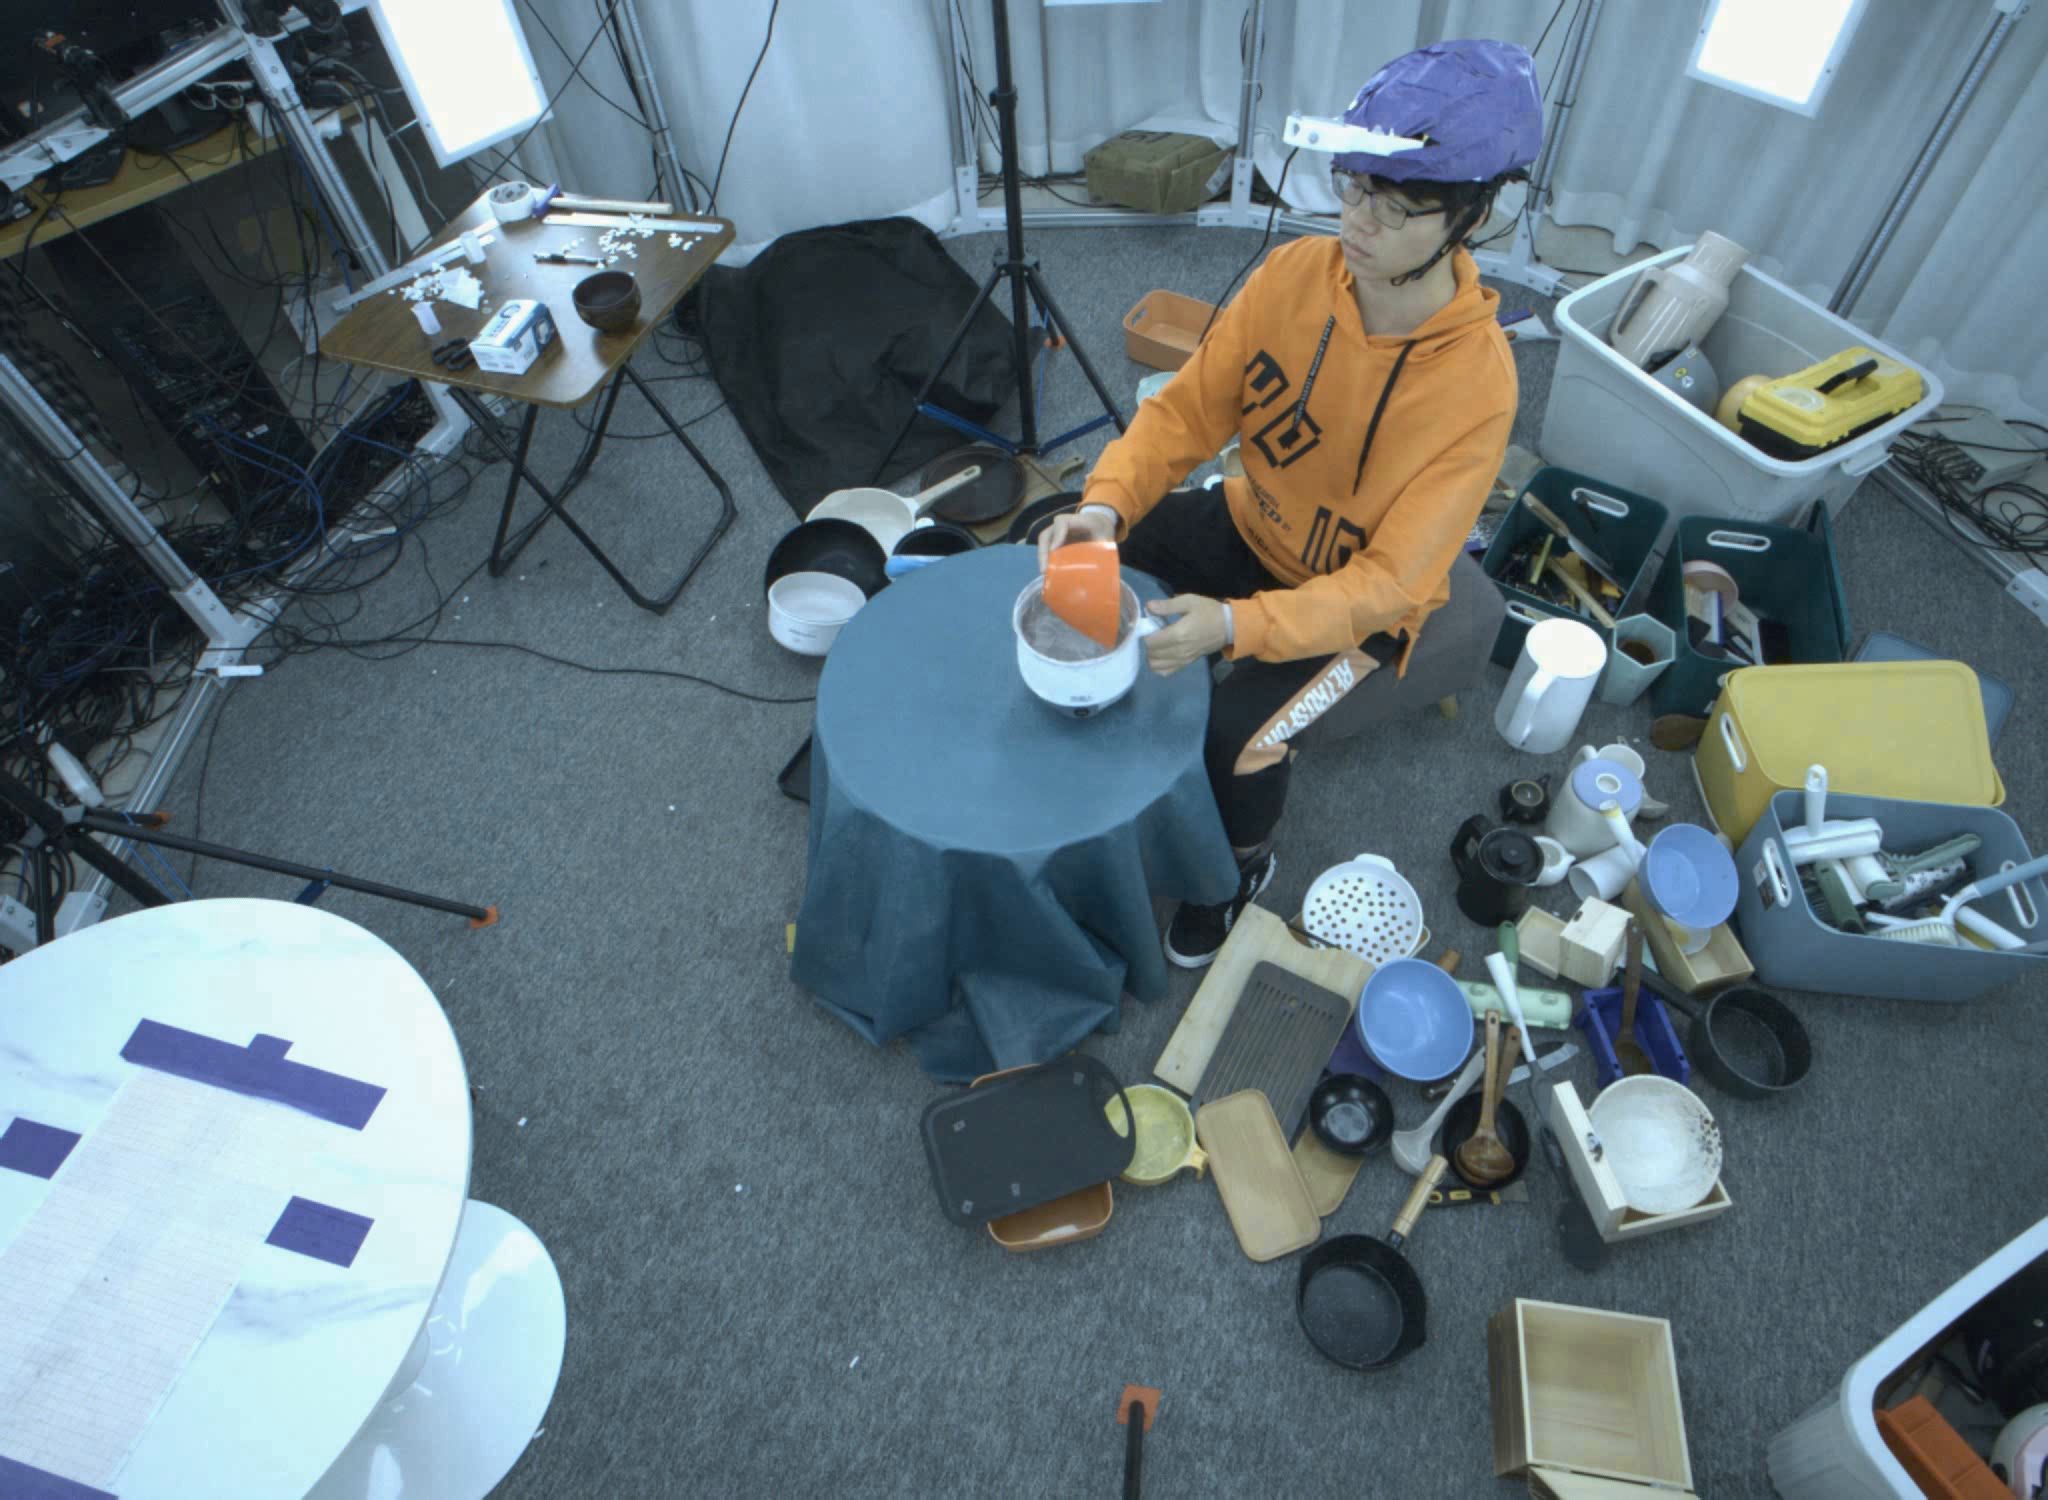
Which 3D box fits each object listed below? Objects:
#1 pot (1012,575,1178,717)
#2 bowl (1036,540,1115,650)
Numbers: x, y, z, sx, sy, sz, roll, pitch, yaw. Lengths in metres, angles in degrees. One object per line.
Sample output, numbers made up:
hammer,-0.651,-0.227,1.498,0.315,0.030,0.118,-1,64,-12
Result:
pot,0.104,-0.157,1.757,0.234,0.138,0.177,-4,59,1
bowl,0.070,-0.215,1.656,0.105,0.148,0.147,8,55,-4
